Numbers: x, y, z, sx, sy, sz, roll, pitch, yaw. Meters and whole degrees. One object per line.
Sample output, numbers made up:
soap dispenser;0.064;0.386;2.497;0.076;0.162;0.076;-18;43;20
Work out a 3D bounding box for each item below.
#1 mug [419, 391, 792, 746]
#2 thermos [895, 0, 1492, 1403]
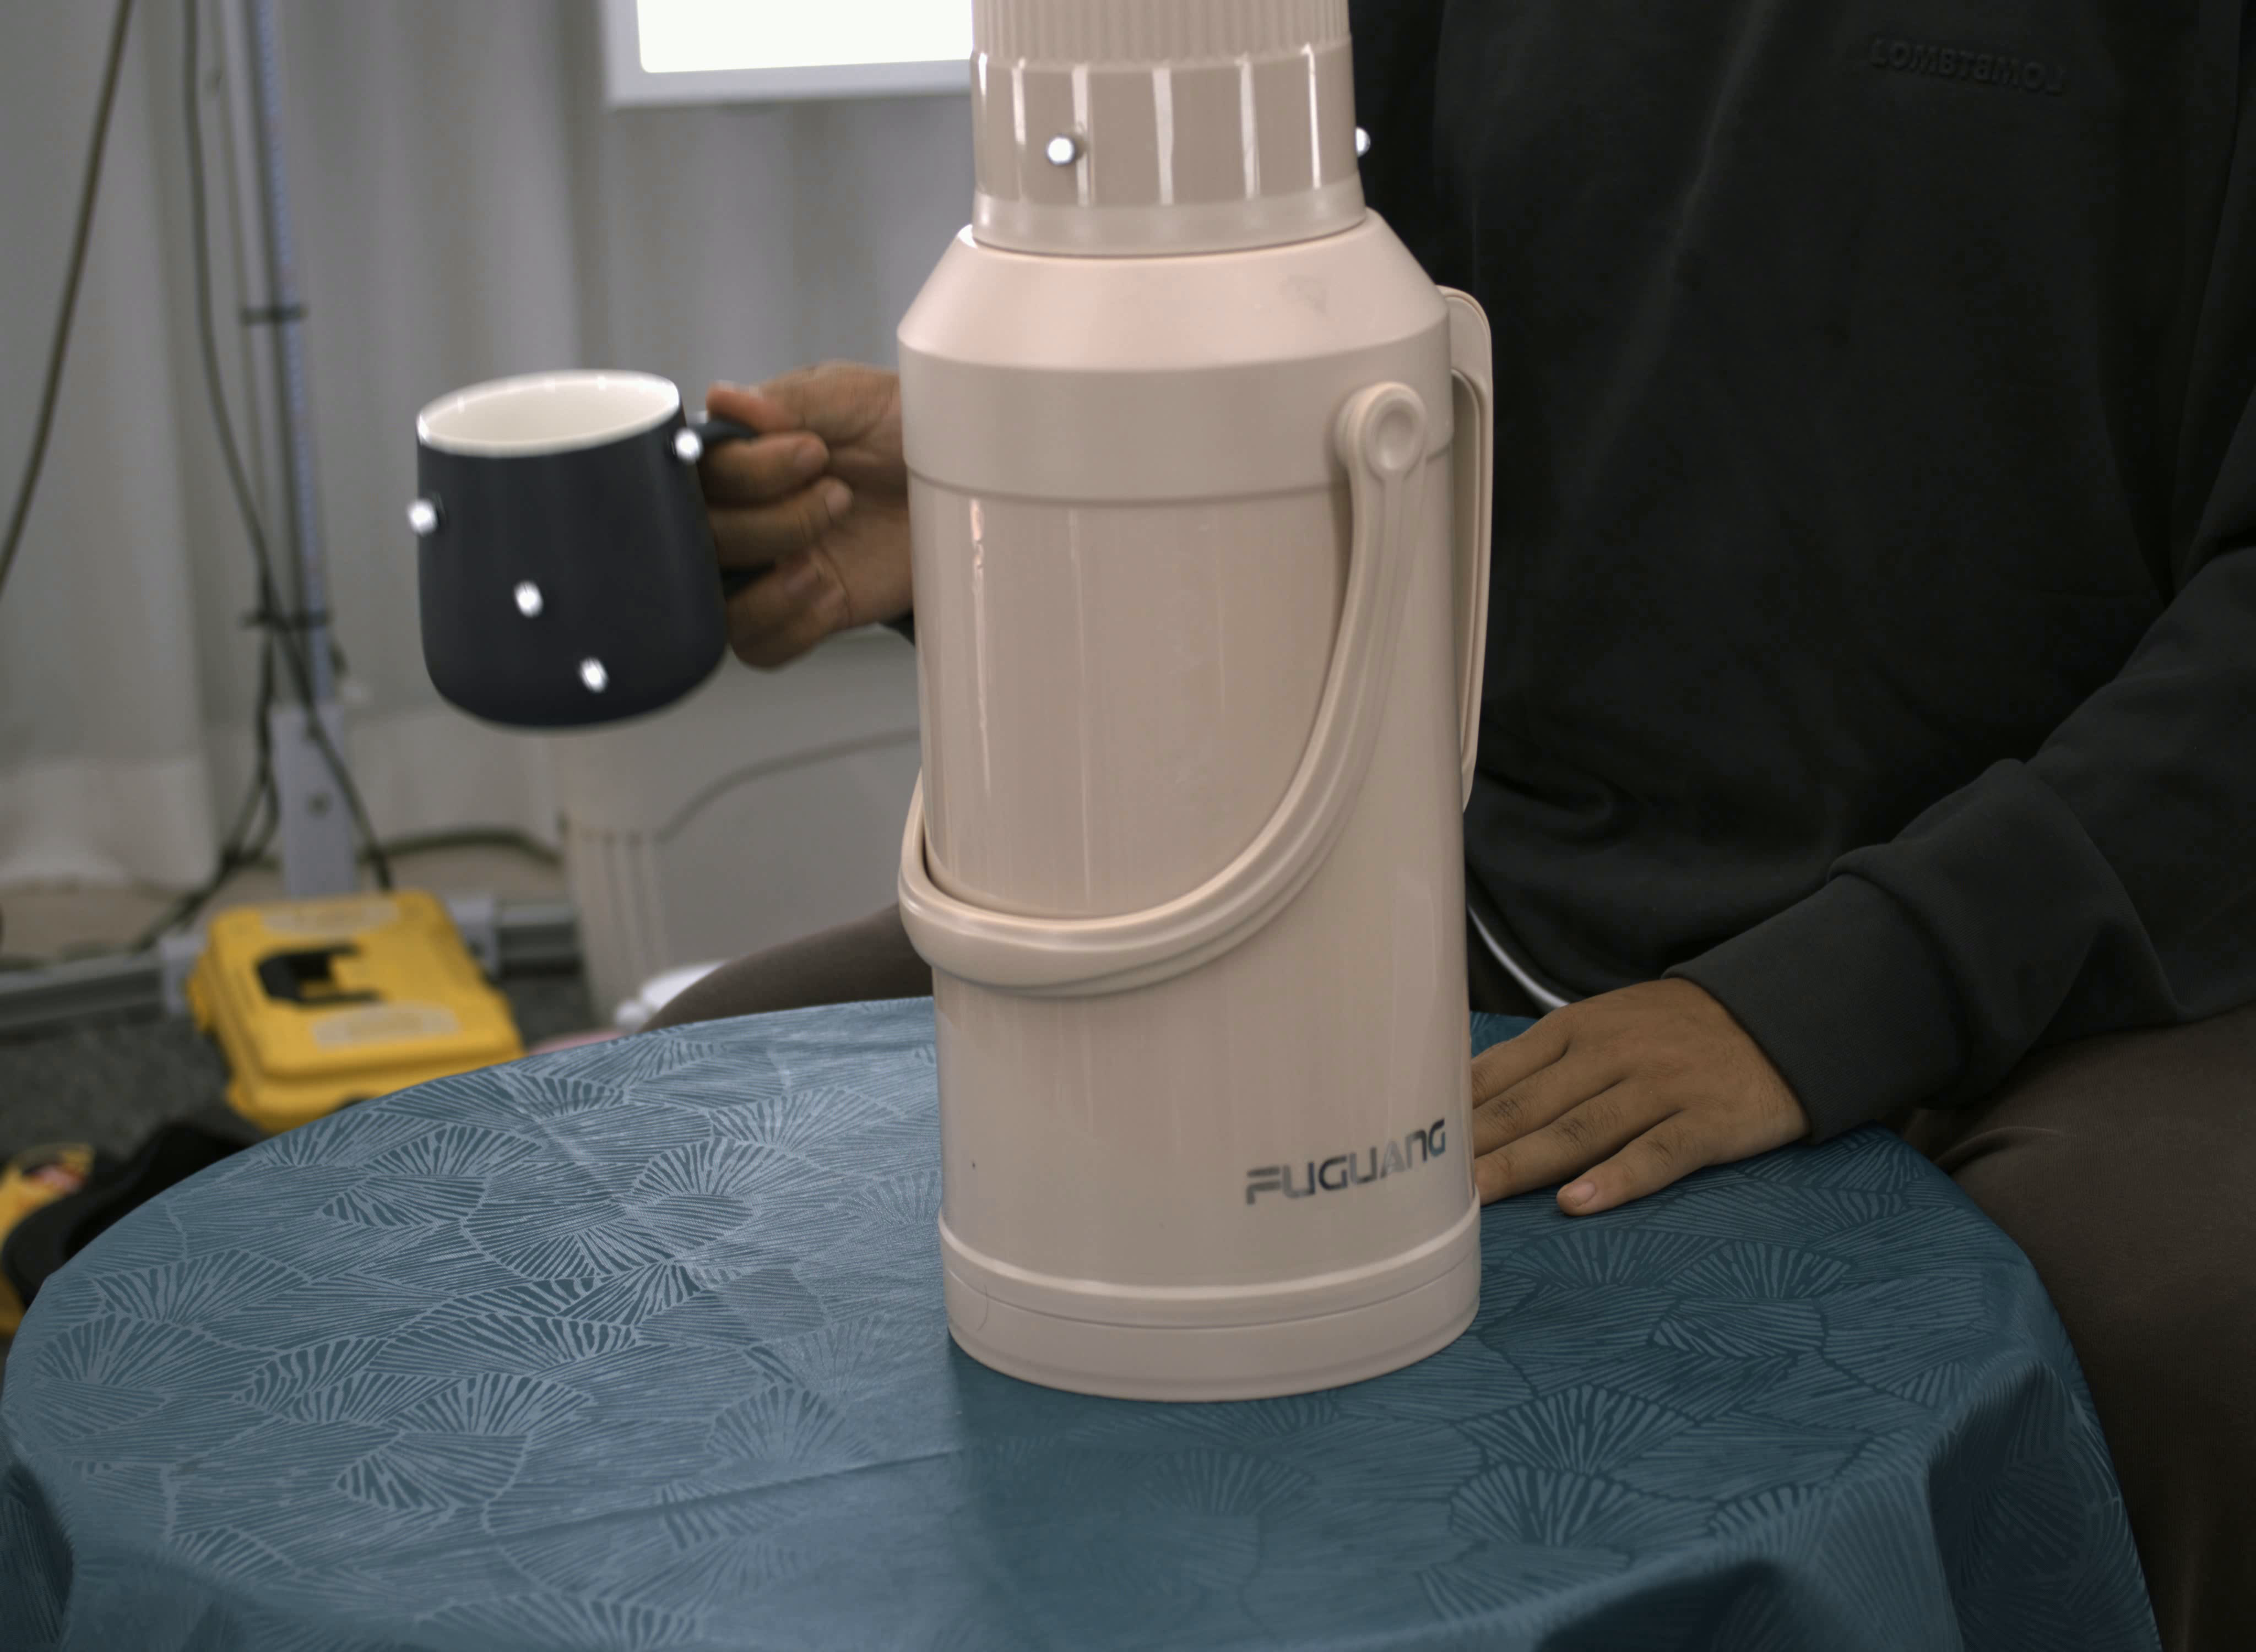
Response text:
mug;-0.157;-0.083;1.676;0.123;0.089;0.094;-19;23;-31
thermos;0.027;-0.052;1.575;0.206;0.405;0.176;-15;18;-41
